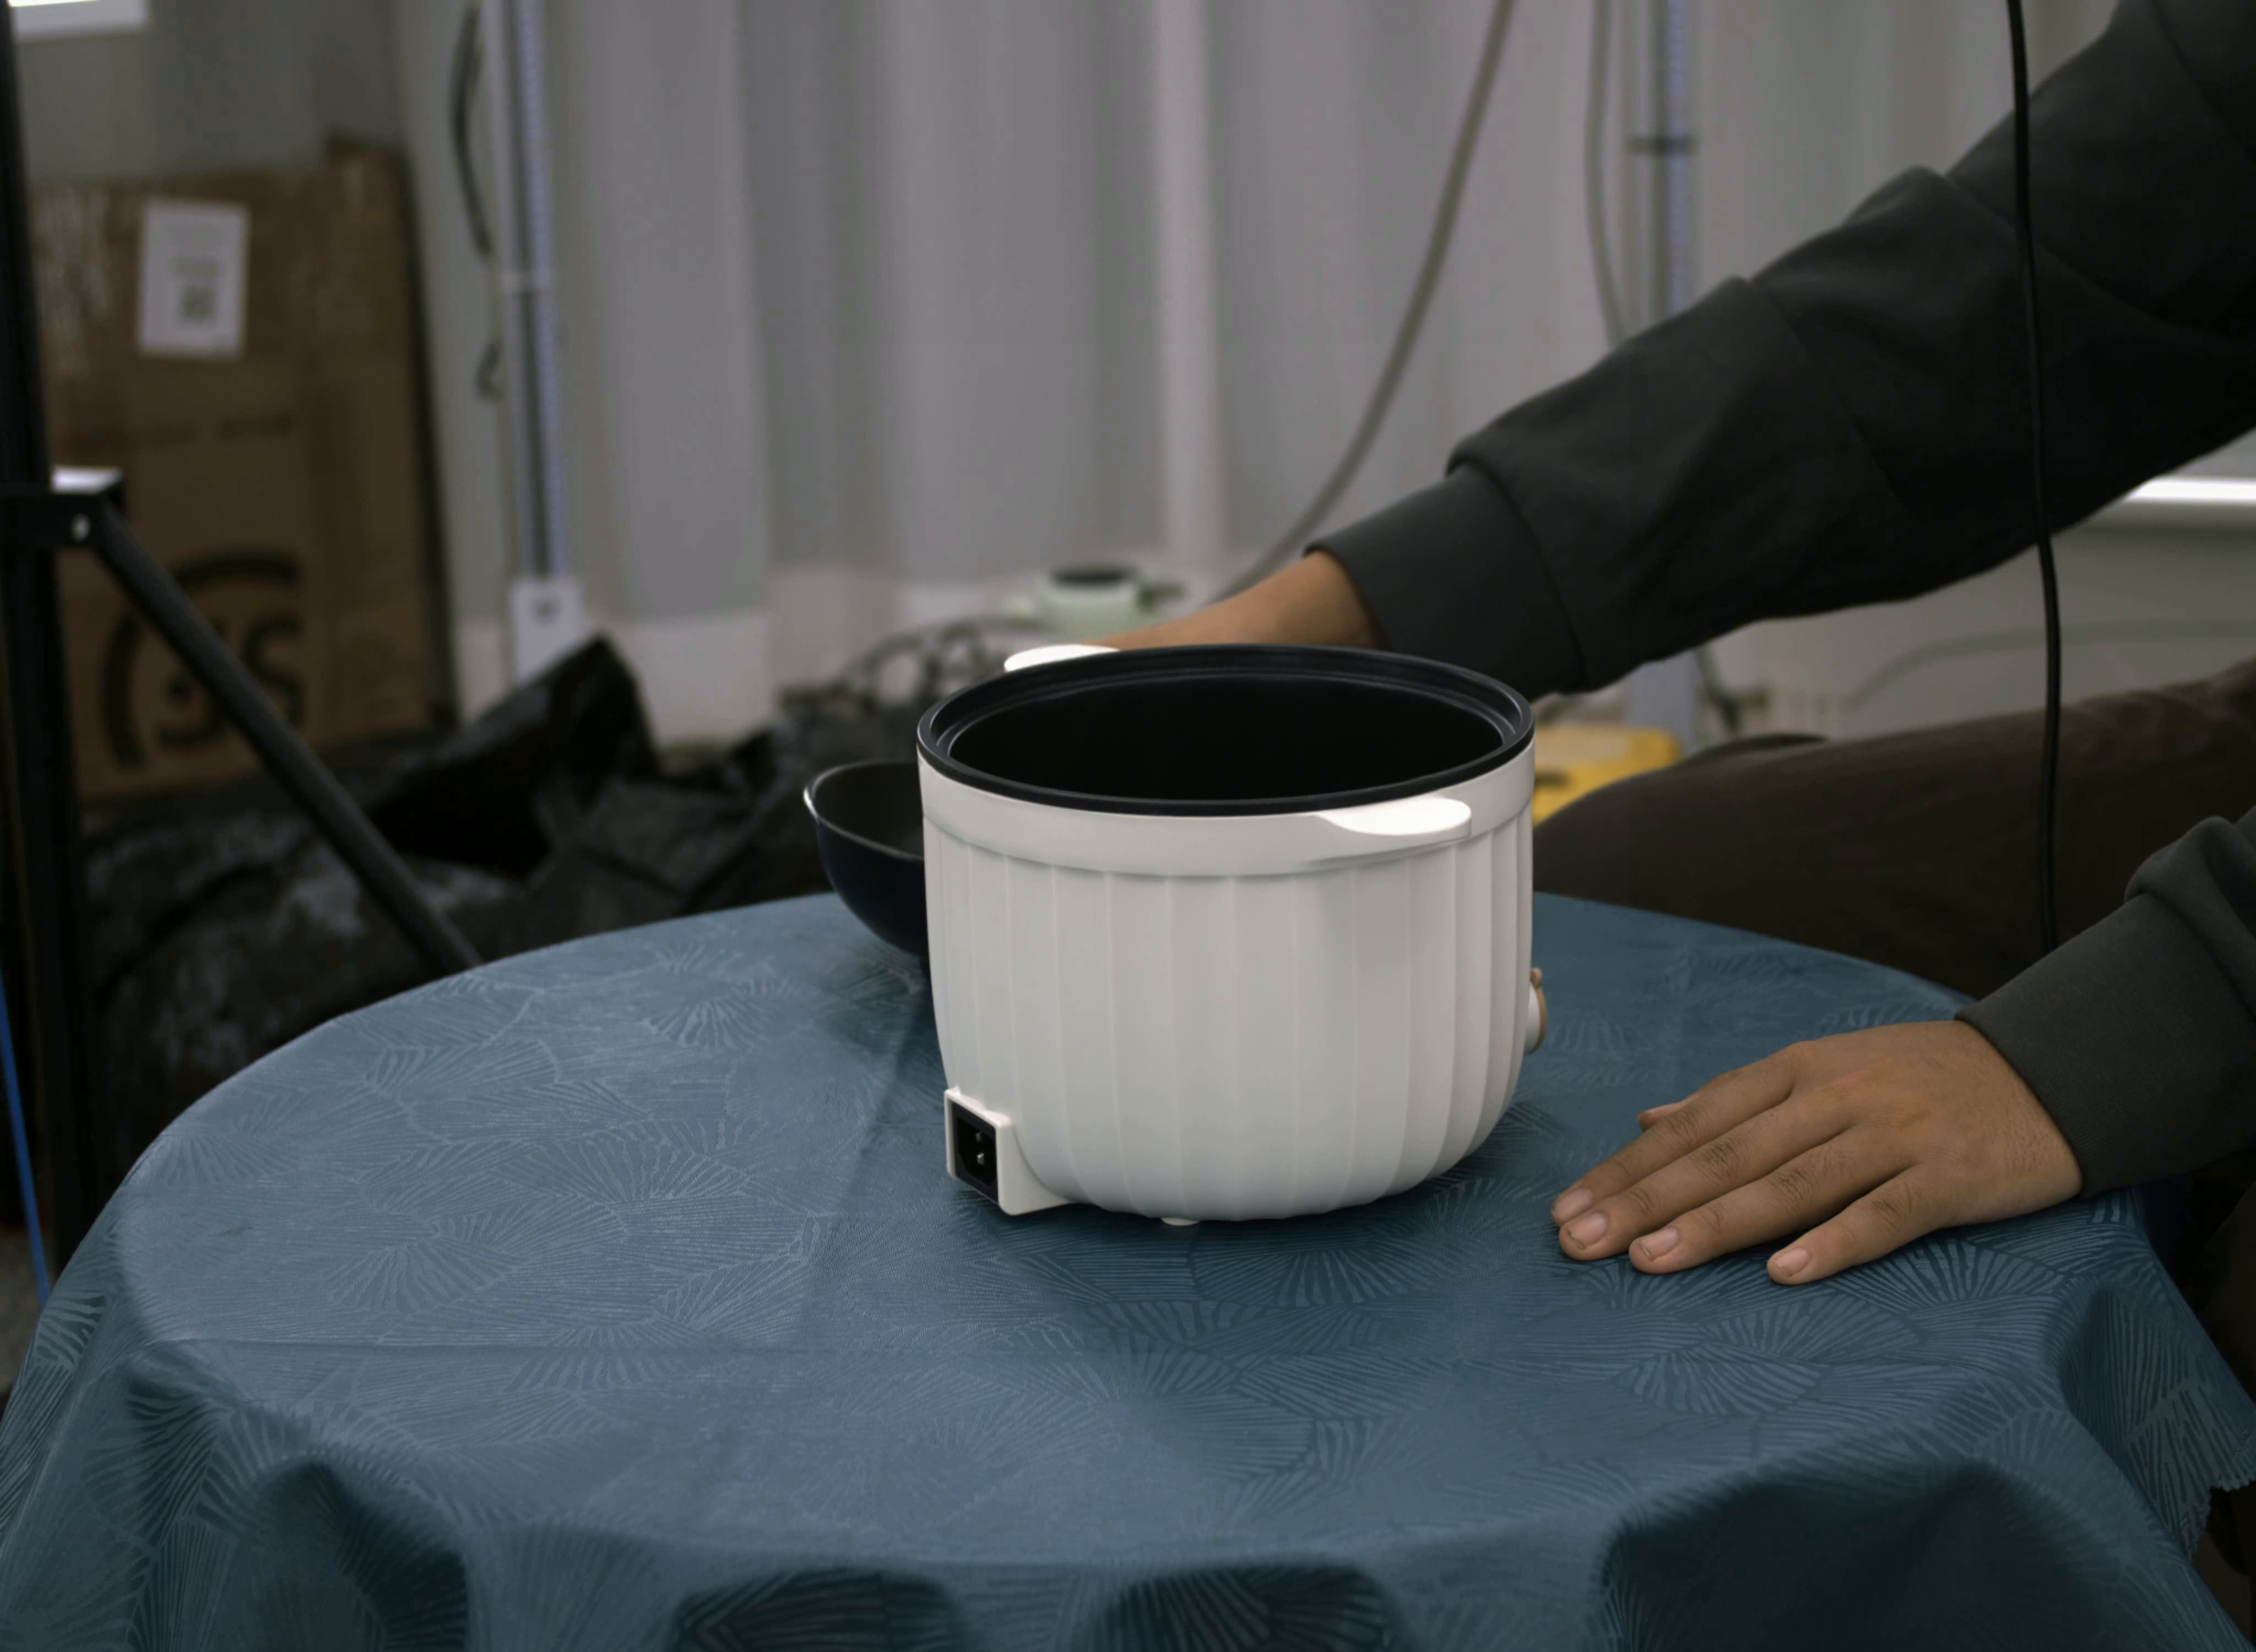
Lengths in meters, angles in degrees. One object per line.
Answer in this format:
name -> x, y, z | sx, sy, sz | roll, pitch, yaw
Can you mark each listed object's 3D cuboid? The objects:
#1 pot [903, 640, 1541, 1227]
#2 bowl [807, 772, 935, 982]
pot -> 0.034, 0.032, 1.569 | 0.187, 0.142, 0.245 | -13, 20, -25
bowl -> -0.037, 0.017, 1.764 | 0.136, 0.067, 0.172 | -3, 14, -7
